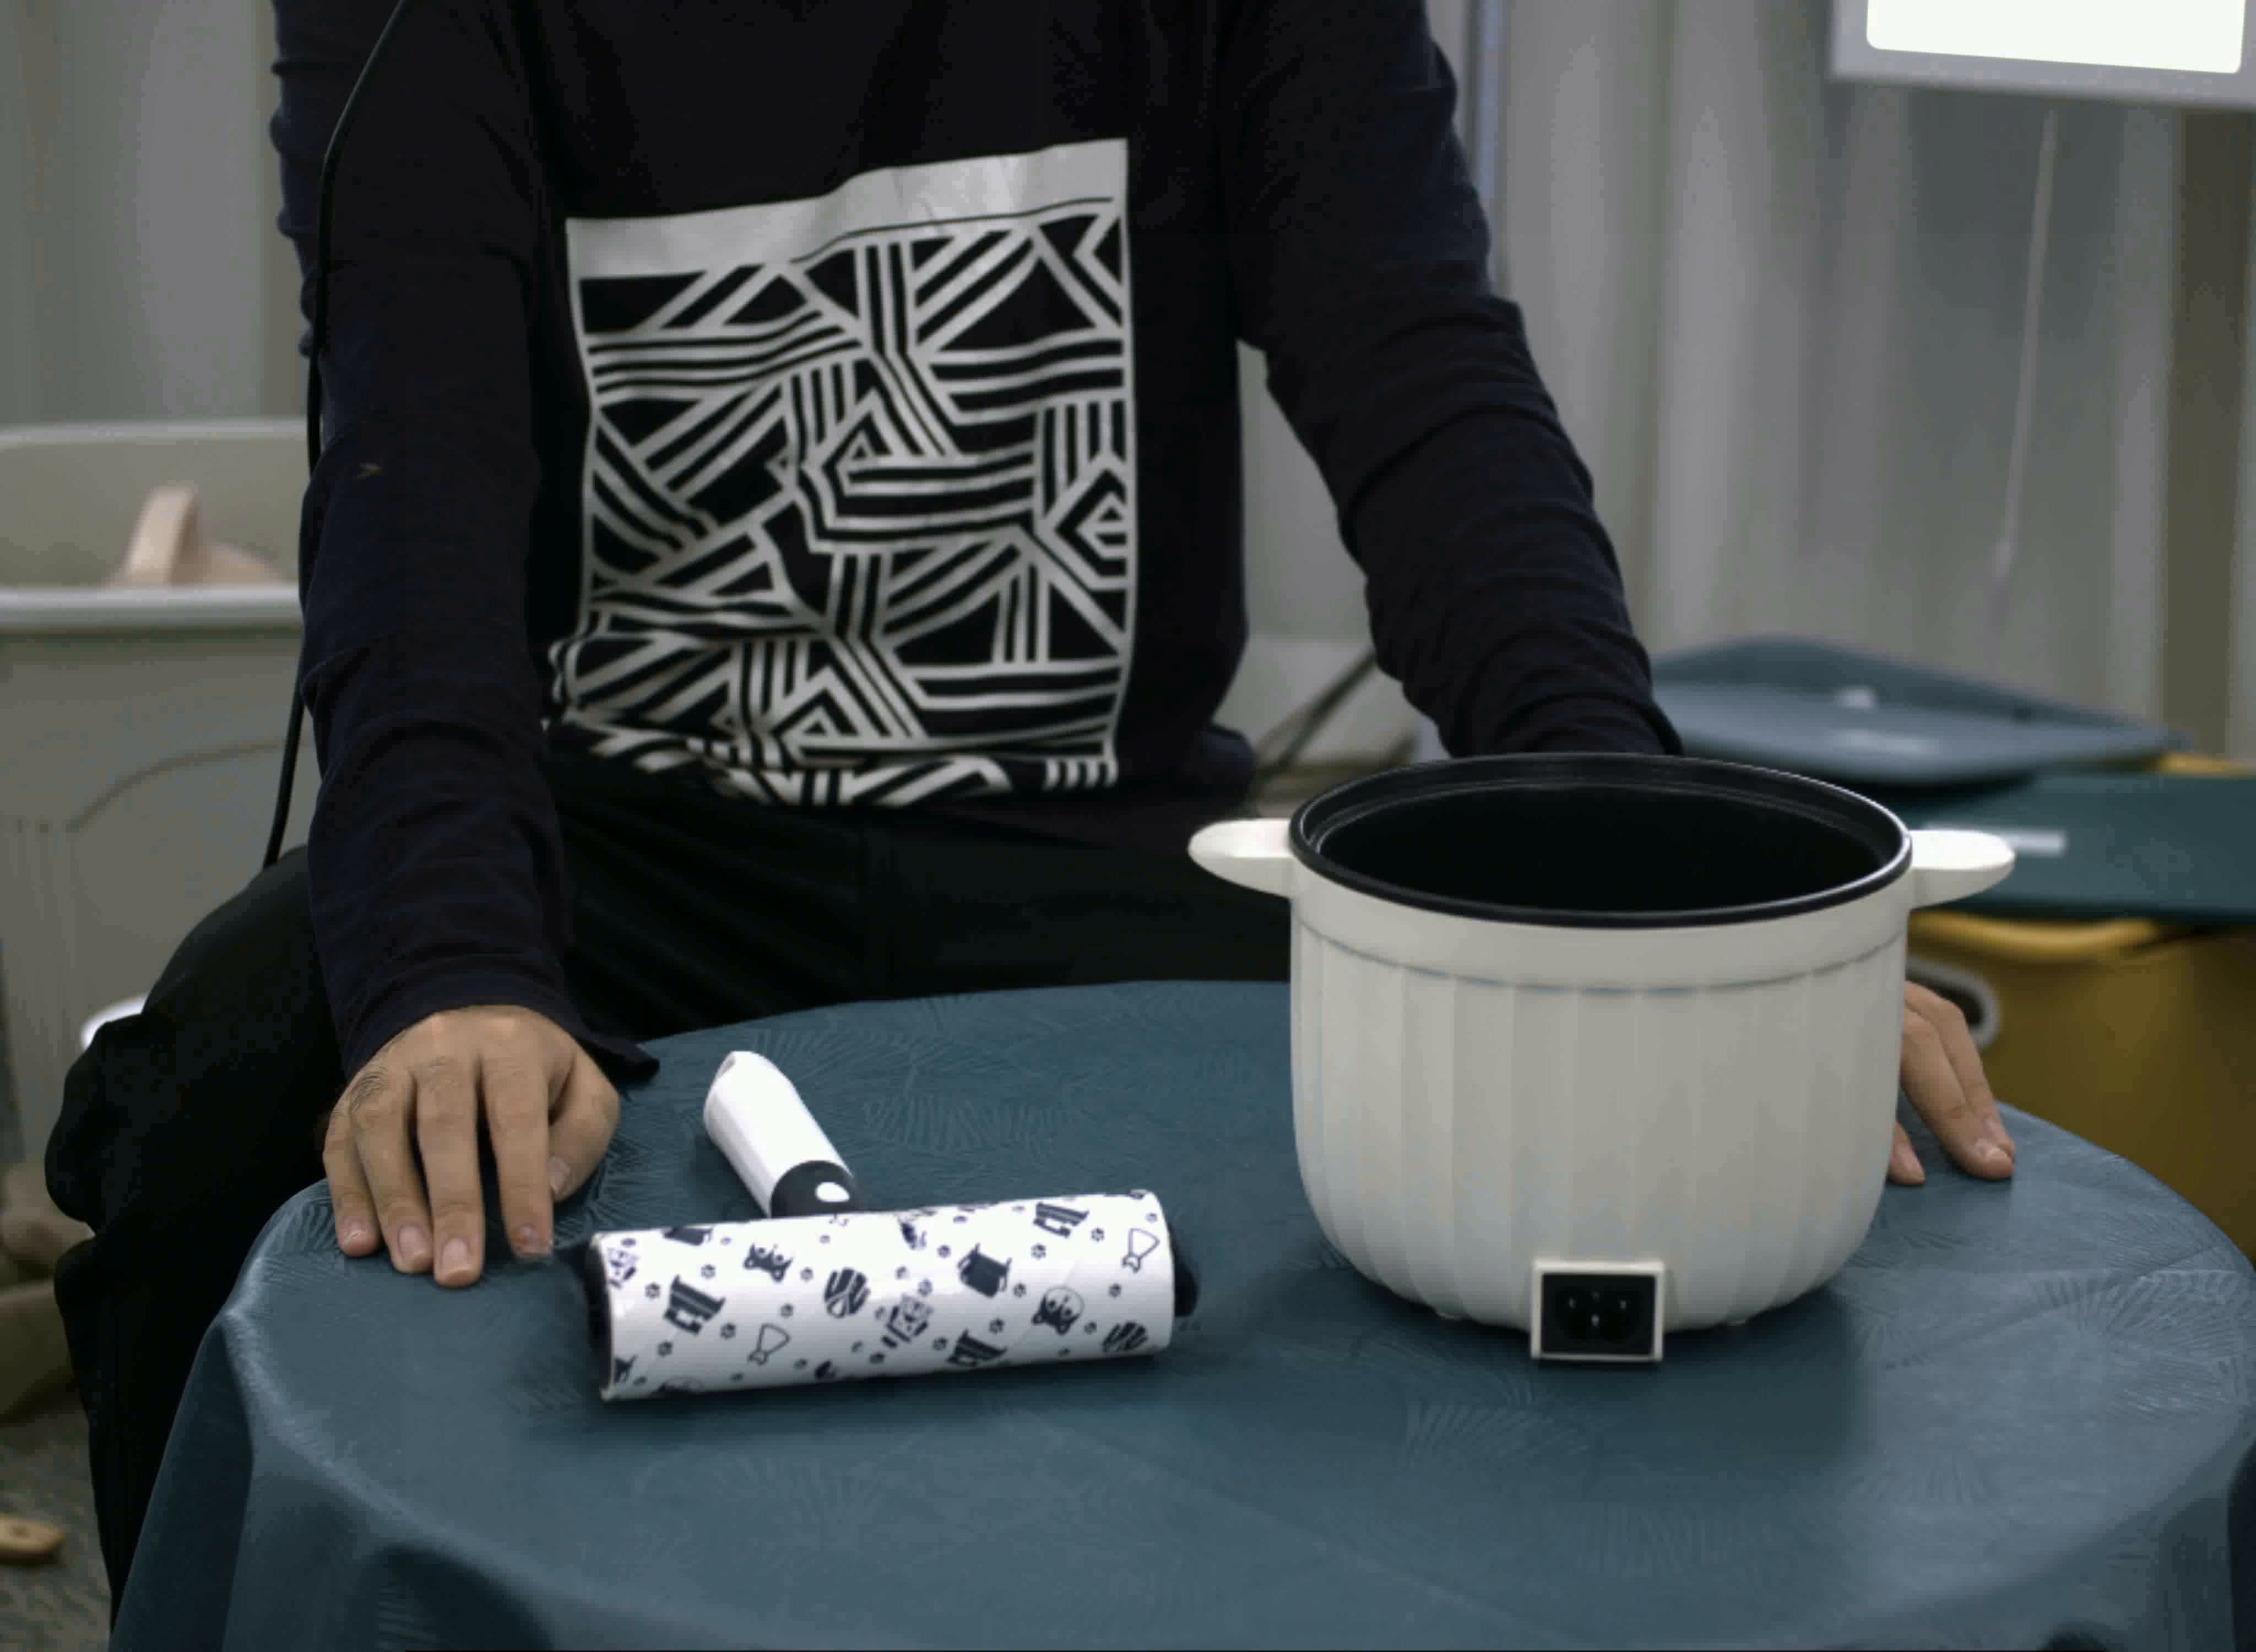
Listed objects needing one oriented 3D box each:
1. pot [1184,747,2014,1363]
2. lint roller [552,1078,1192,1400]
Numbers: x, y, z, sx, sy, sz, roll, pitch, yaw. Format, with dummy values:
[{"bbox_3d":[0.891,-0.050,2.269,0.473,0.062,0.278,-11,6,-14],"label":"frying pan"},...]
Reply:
[{"bbox_3d":[0.135,0.063,1.547,0.239,0.144,0.189,2,19,1],"label":"pot"},{"bbox_3d":[-0.097,0.107,1.560,0.176,0.051,0.245,-5,14,-15],"label":"lint roller"}]
